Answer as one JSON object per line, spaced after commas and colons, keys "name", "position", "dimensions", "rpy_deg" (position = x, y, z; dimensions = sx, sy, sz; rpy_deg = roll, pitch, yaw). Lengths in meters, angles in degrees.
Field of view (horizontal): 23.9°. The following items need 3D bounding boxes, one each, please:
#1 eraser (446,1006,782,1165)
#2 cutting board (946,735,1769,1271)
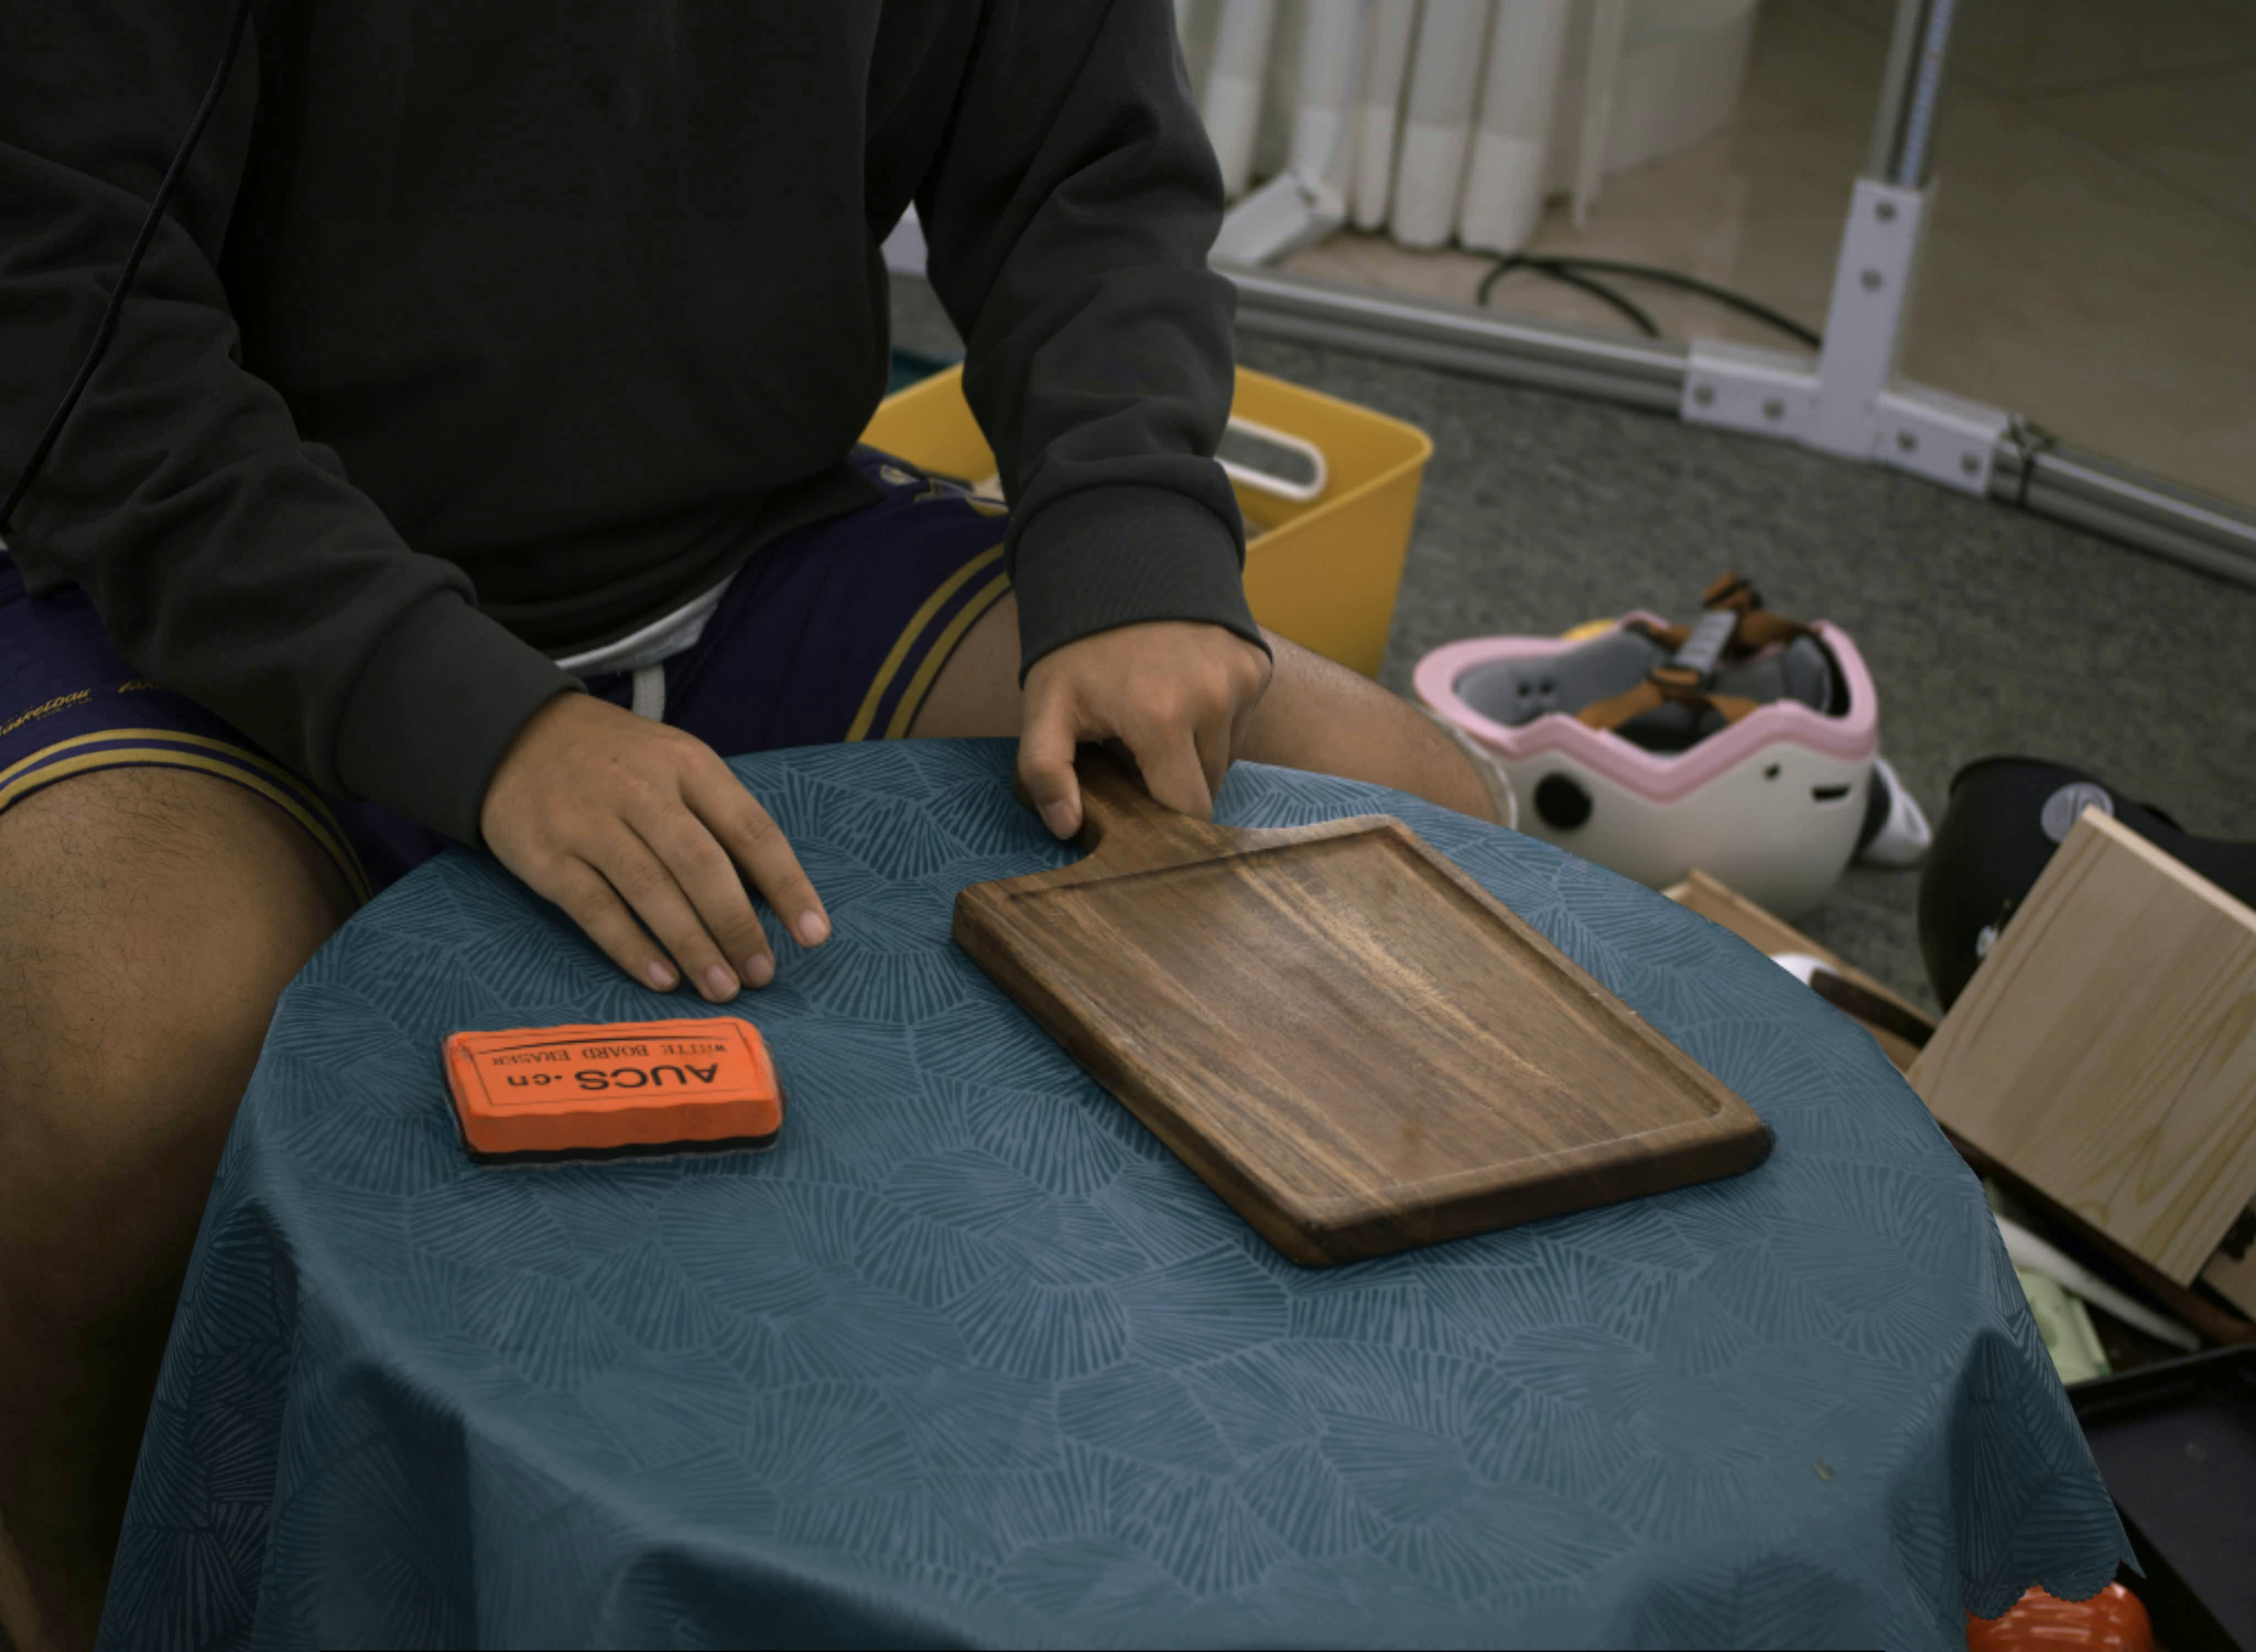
{"name": "eraser", "position": [-0.174, 0.087, 1.800], "dimensions": [0.107, 0.023, 0.059], "rpy_deg": [-4, 28, -17]}
{"name": "cutting board", "position": [0.054, 0.050, 1.936], "dimensions": [0.200, 0.023, 0.355], "rpy_deg": [-10, 31, -30]}
